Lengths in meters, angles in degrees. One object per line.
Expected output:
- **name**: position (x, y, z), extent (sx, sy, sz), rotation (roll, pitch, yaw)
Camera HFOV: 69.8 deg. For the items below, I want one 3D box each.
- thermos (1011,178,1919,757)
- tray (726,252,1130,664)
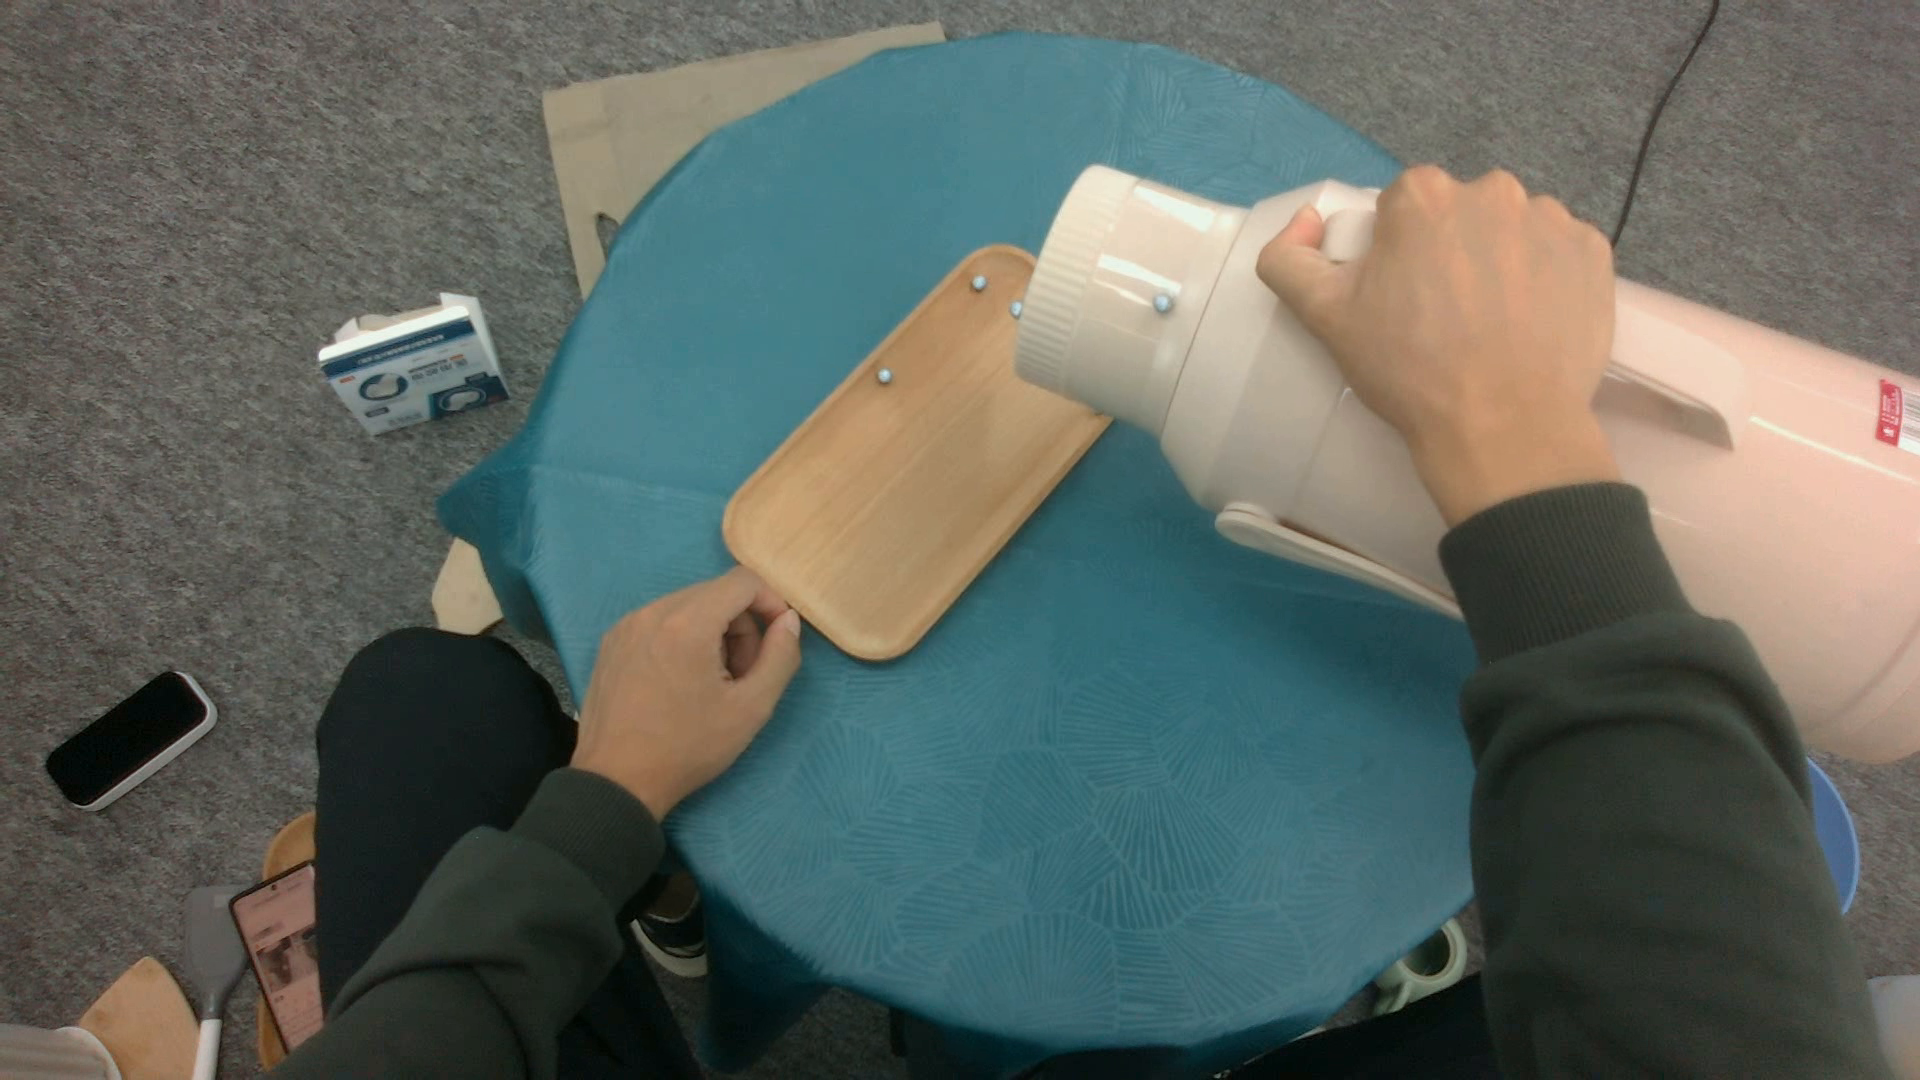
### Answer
- **thermos**: position (0.227, -0.053, 0.613), extent (0.406, 0.206, 0.176), rotation (23, 76, 10)
- **tray**: position (-0.010, -0.051, 0.774), extent (0.130, 0.023, 0.251), rotation (39, 72, 11)
